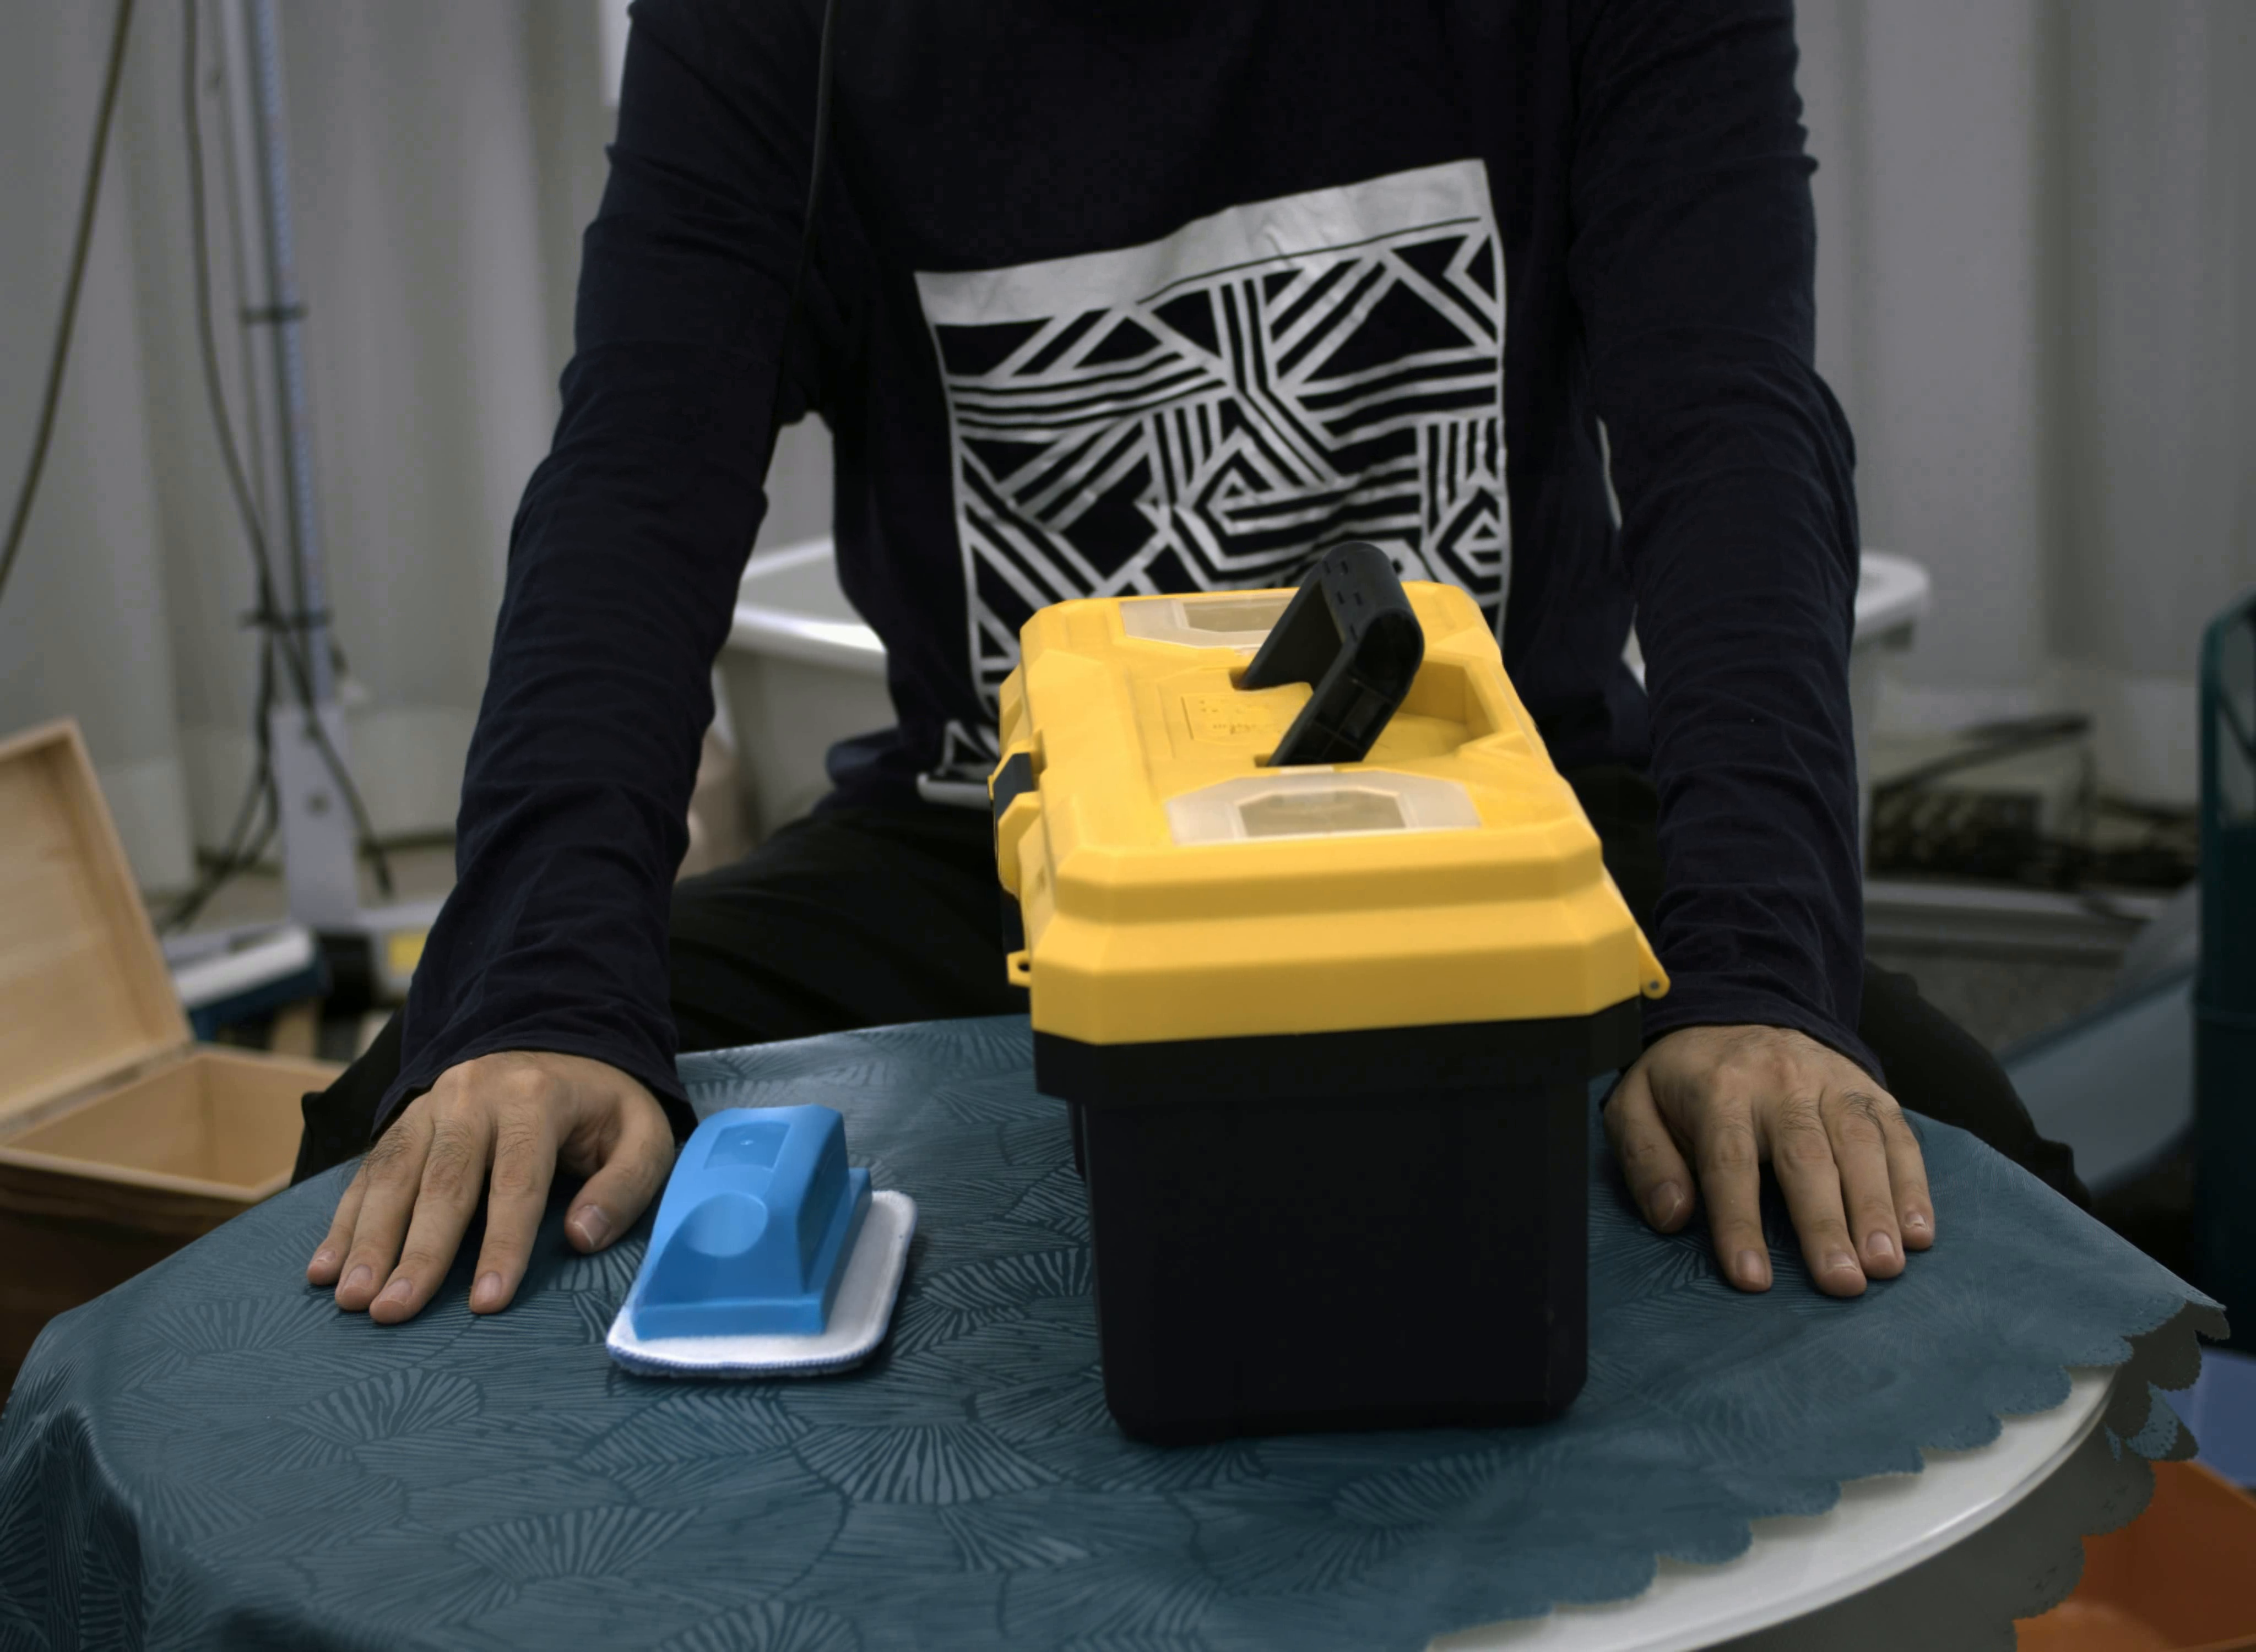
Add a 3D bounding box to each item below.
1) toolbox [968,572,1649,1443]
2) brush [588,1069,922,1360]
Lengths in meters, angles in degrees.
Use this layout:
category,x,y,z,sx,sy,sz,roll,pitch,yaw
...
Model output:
category,x,y,z,sx,sy,sz,roll,pitch,yaw
toolbox,0.048,0.045,1.630,0.180,0.172,0.354,-3,15,-2
brush,-0.110,0.112,1.630,0.083,0.055,0.145,2,17,6
